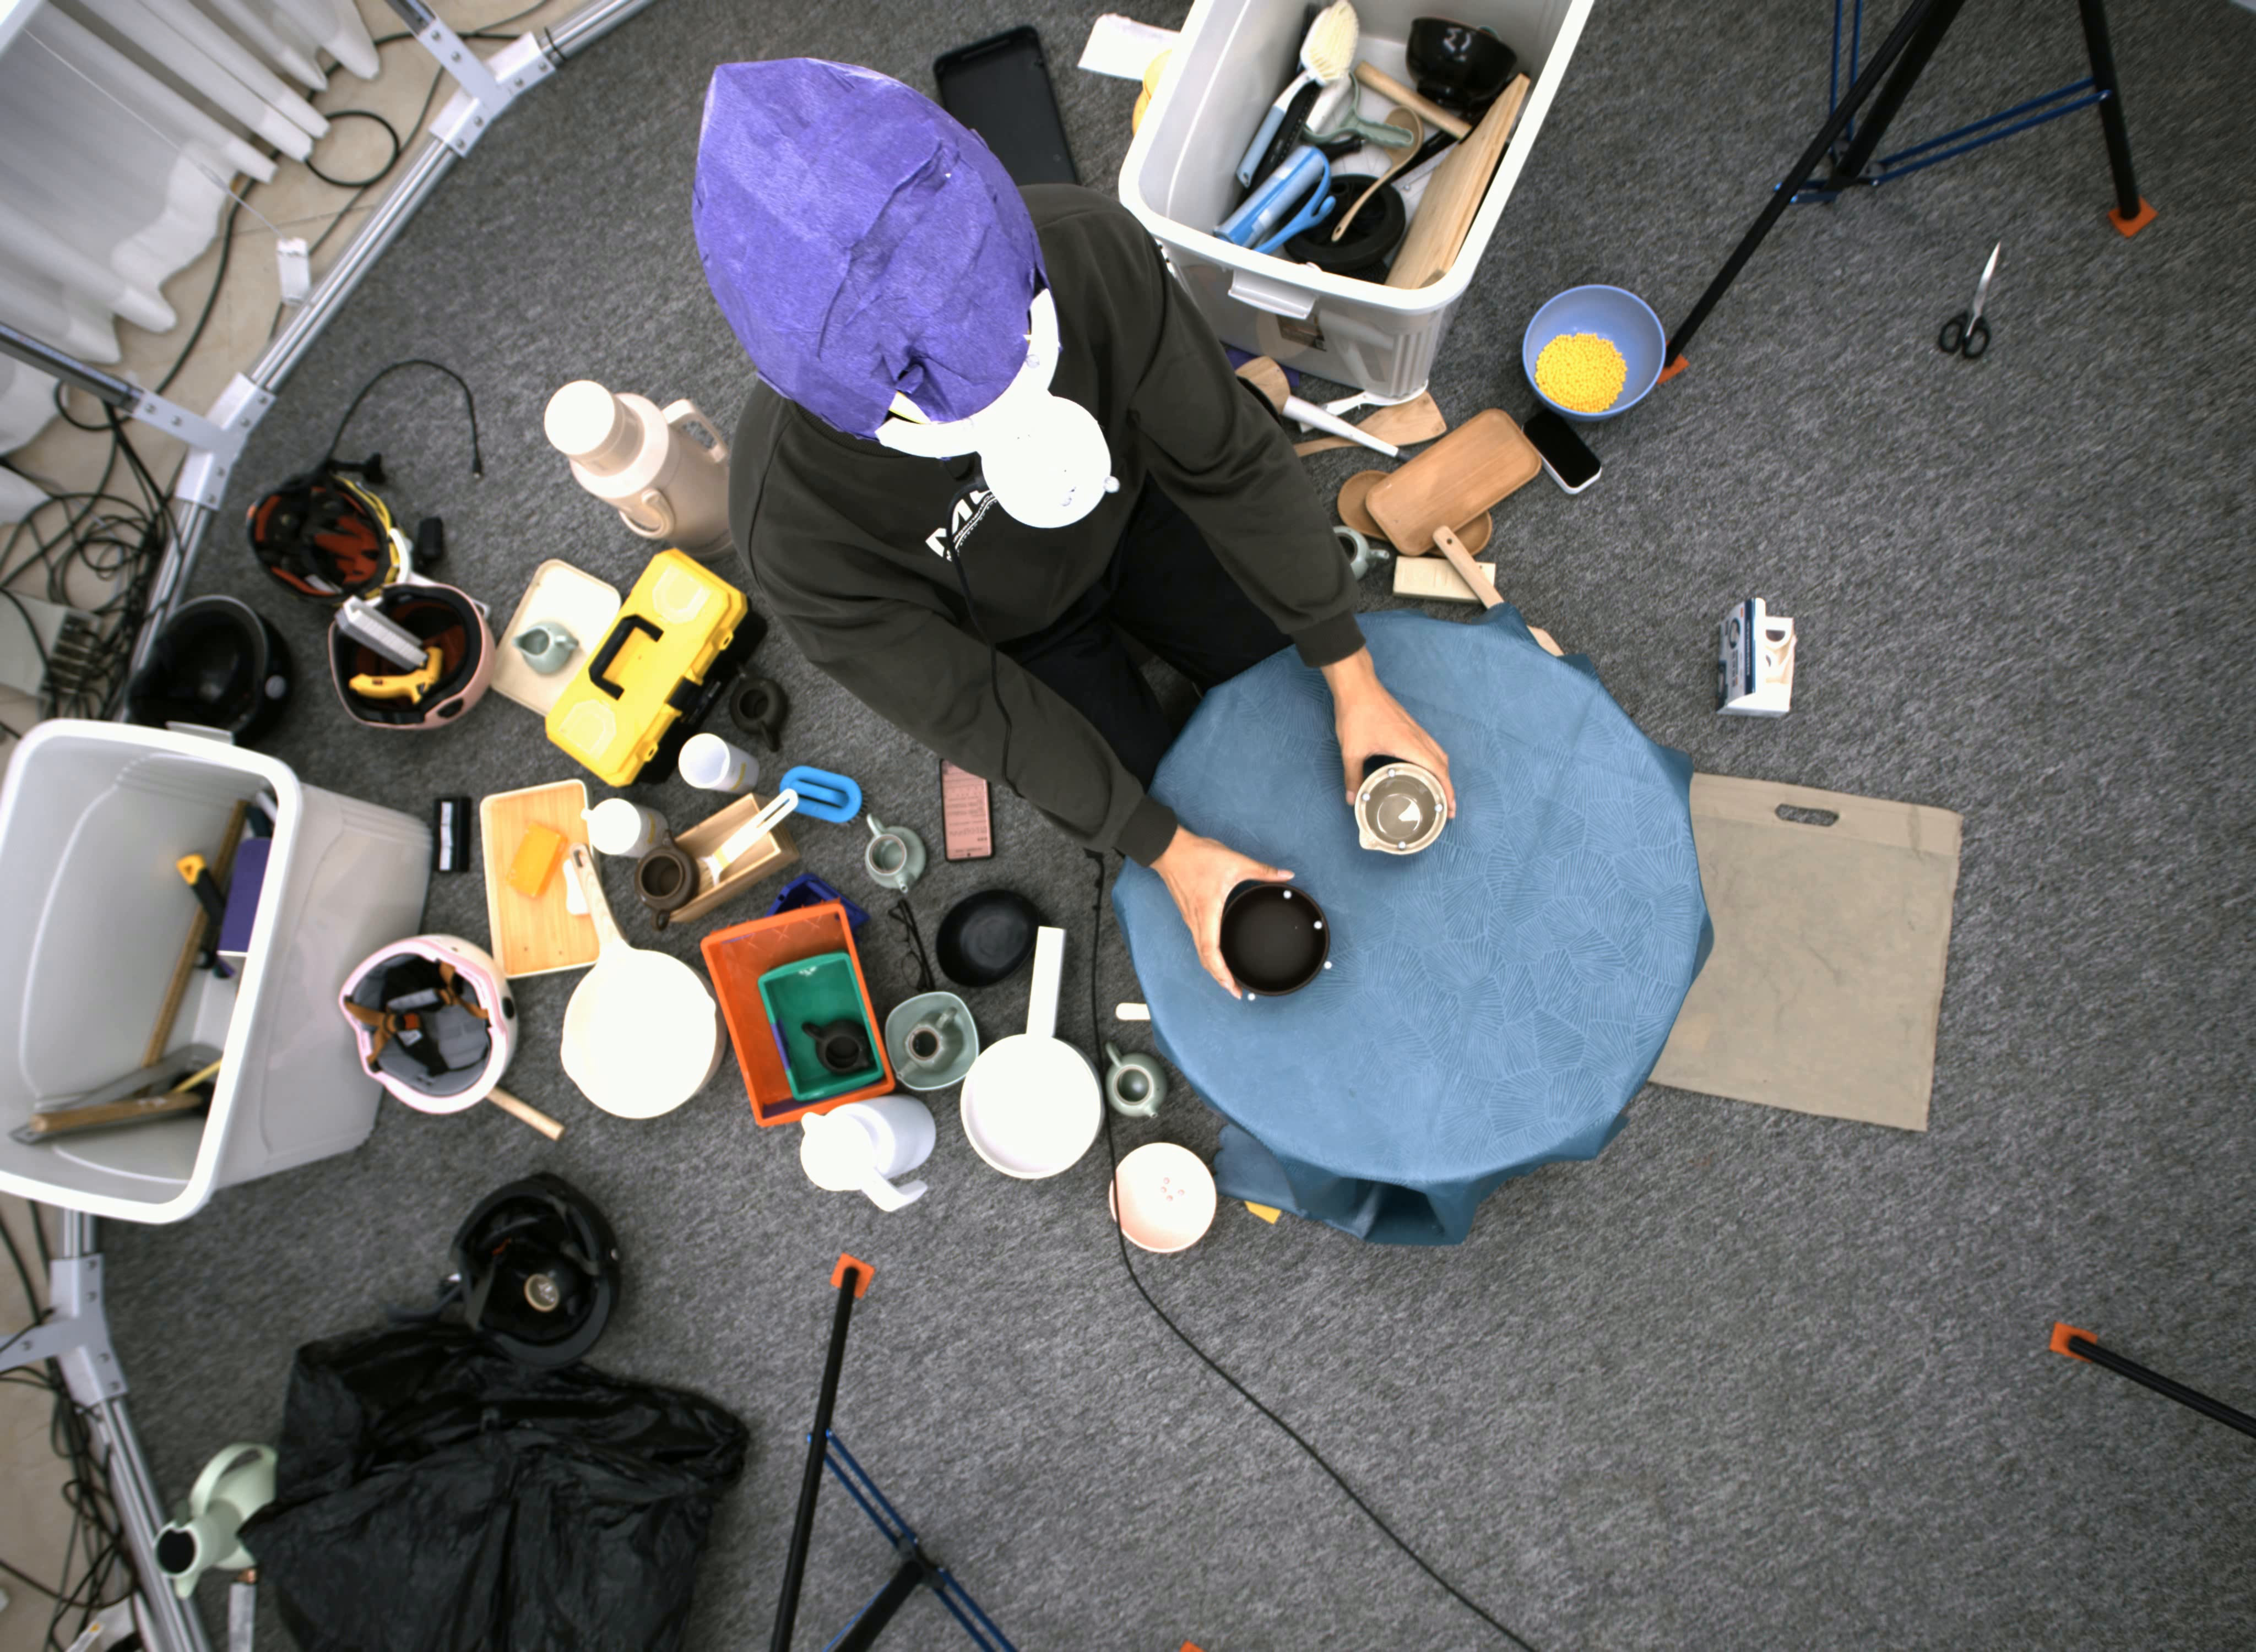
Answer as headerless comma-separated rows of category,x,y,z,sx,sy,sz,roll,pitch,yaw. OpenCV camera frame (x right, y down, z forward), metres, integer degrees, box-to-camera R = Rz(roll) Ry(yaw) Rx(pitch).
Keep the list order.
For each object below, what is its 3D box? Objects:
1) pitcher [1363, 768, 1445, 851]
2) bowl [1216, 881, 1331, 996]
pitcher,0.281,-0.014,1.426,0.096,0.071,0.083,-39,82,7
bowl,0.152,0.118,1.441,0.118,0.070,0.117,-1,84,10
